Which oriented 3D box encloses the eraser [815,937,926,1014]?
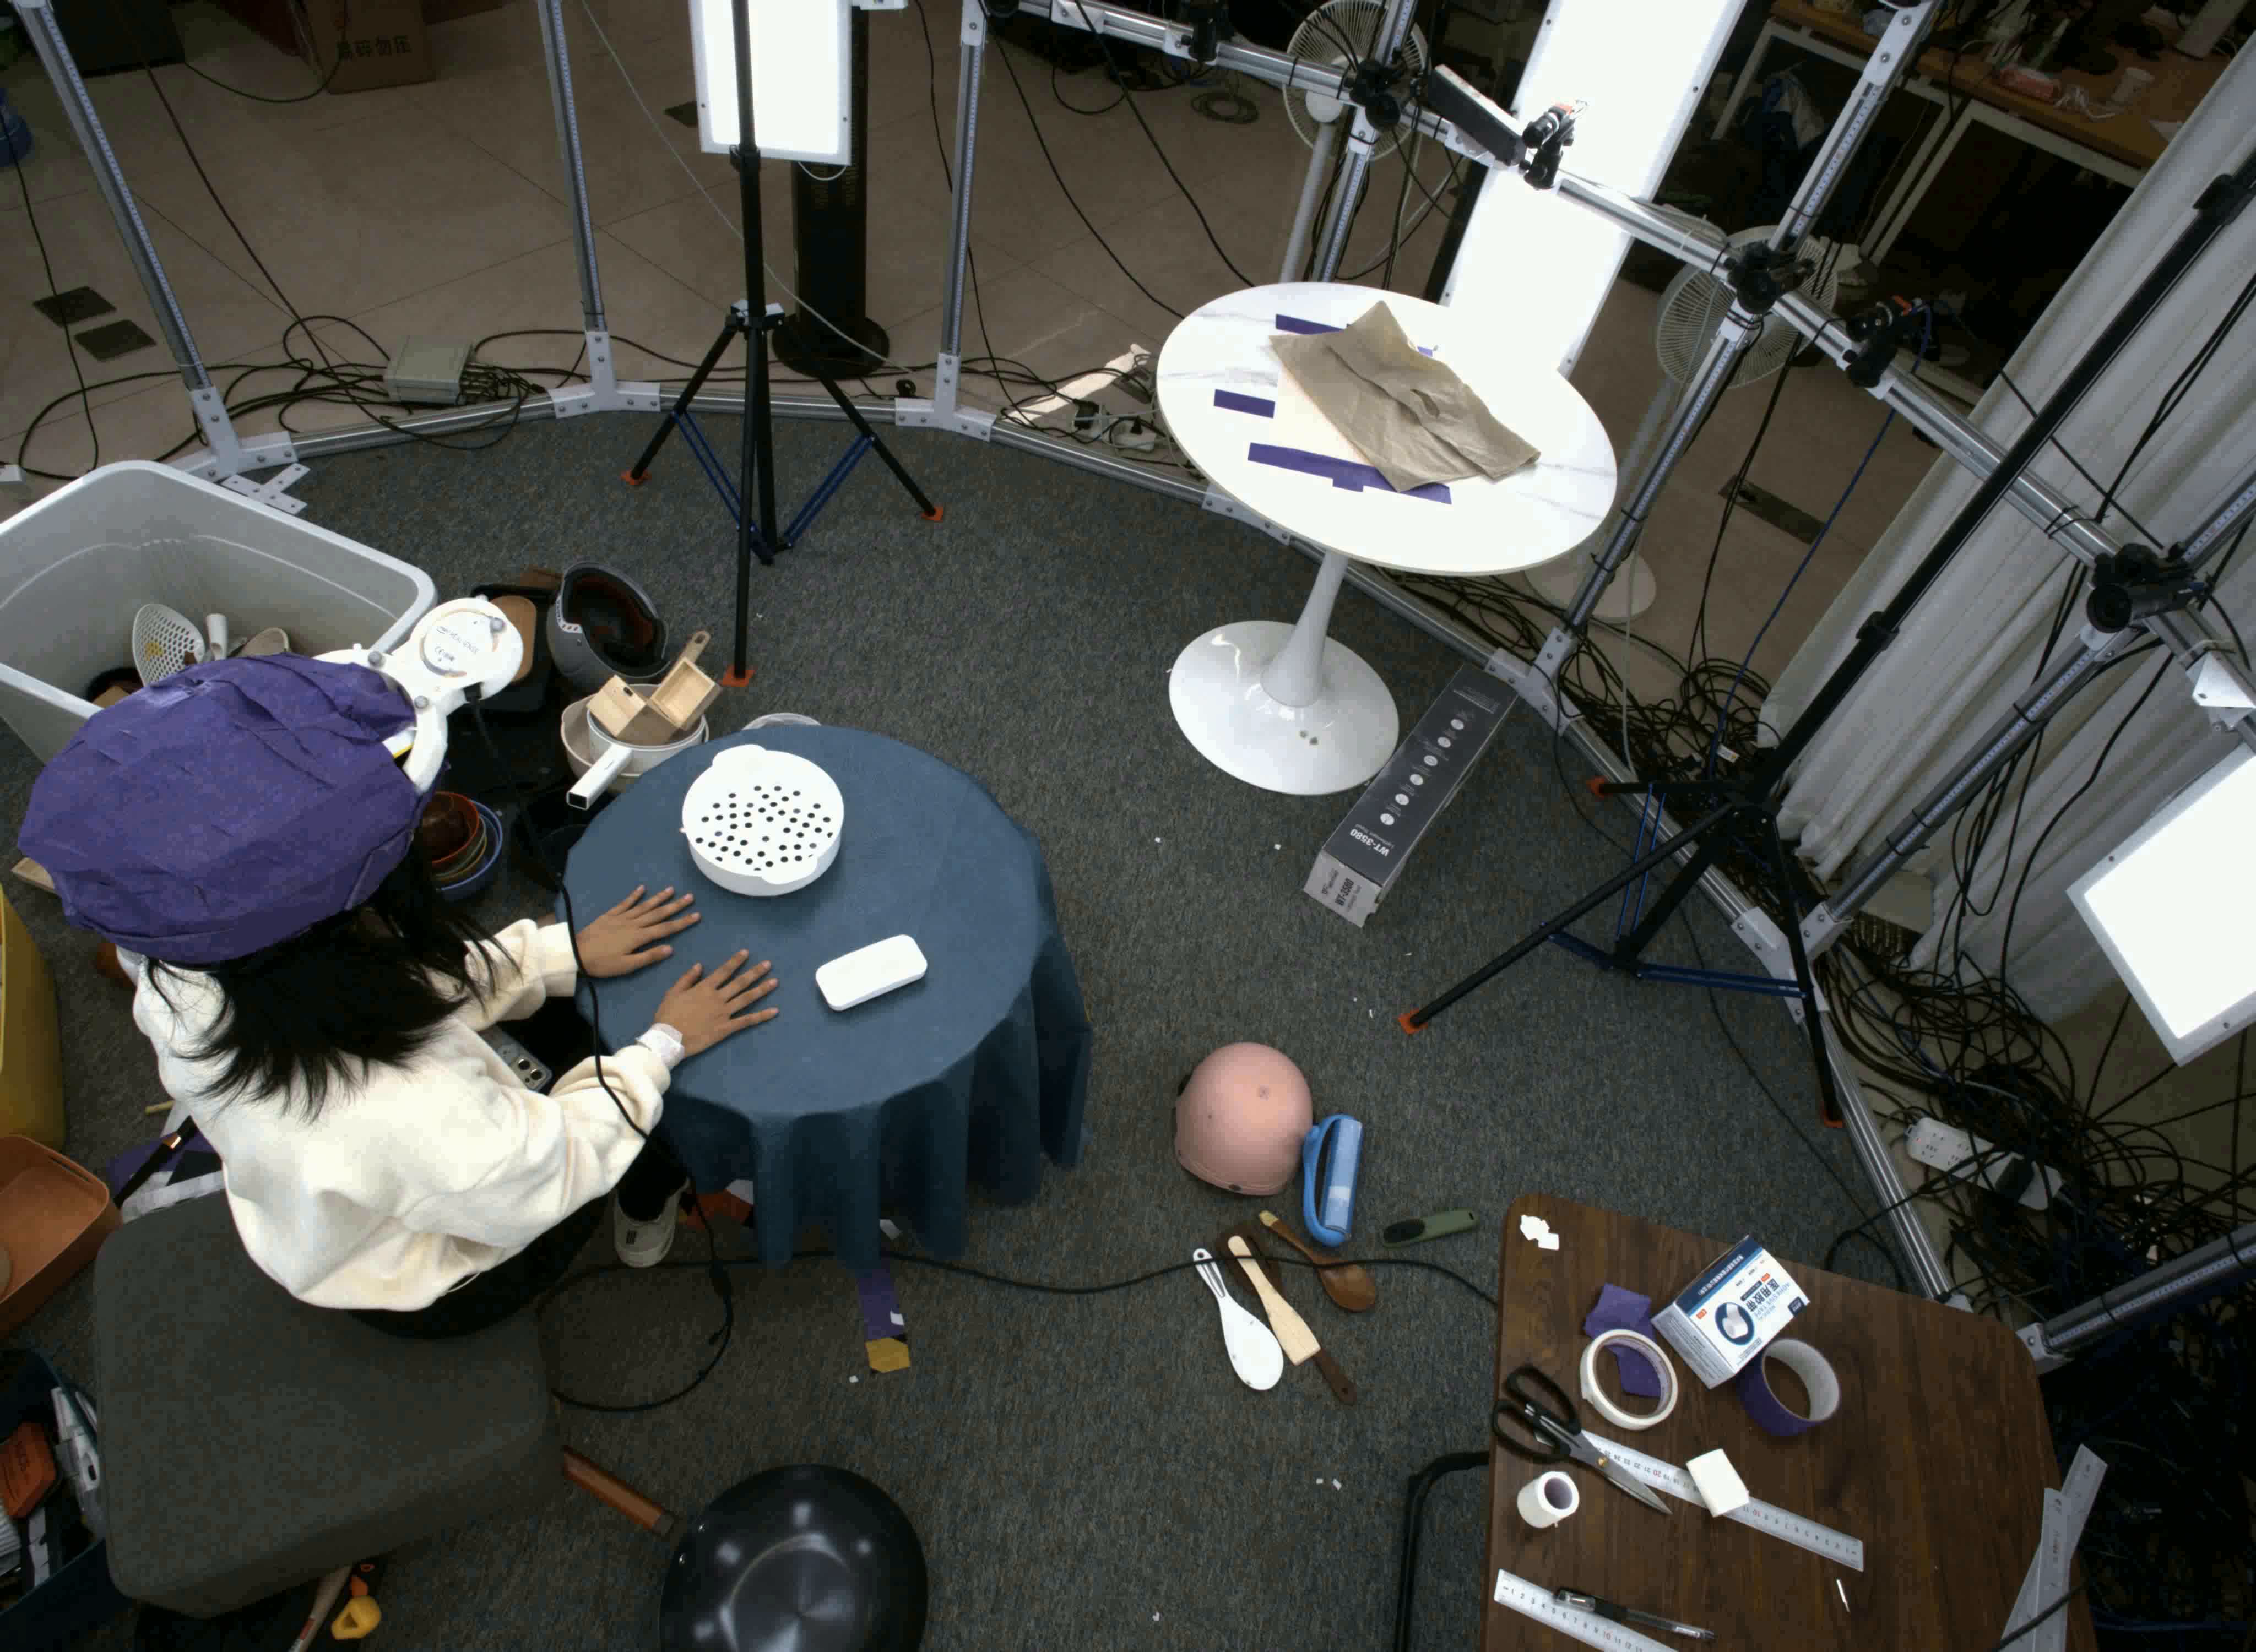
[{"bbox_3d":[-0.316,0.179,1.594,0.132,0.035,0.062,-20,60,-28],"label":"eraser"}]

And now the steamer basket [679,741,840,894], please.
[{"bbox_3d":[-0.473,-0.007,1.667,0.203,0.070,0.224,-19,60,-26],"label":"steamer basket"}]
